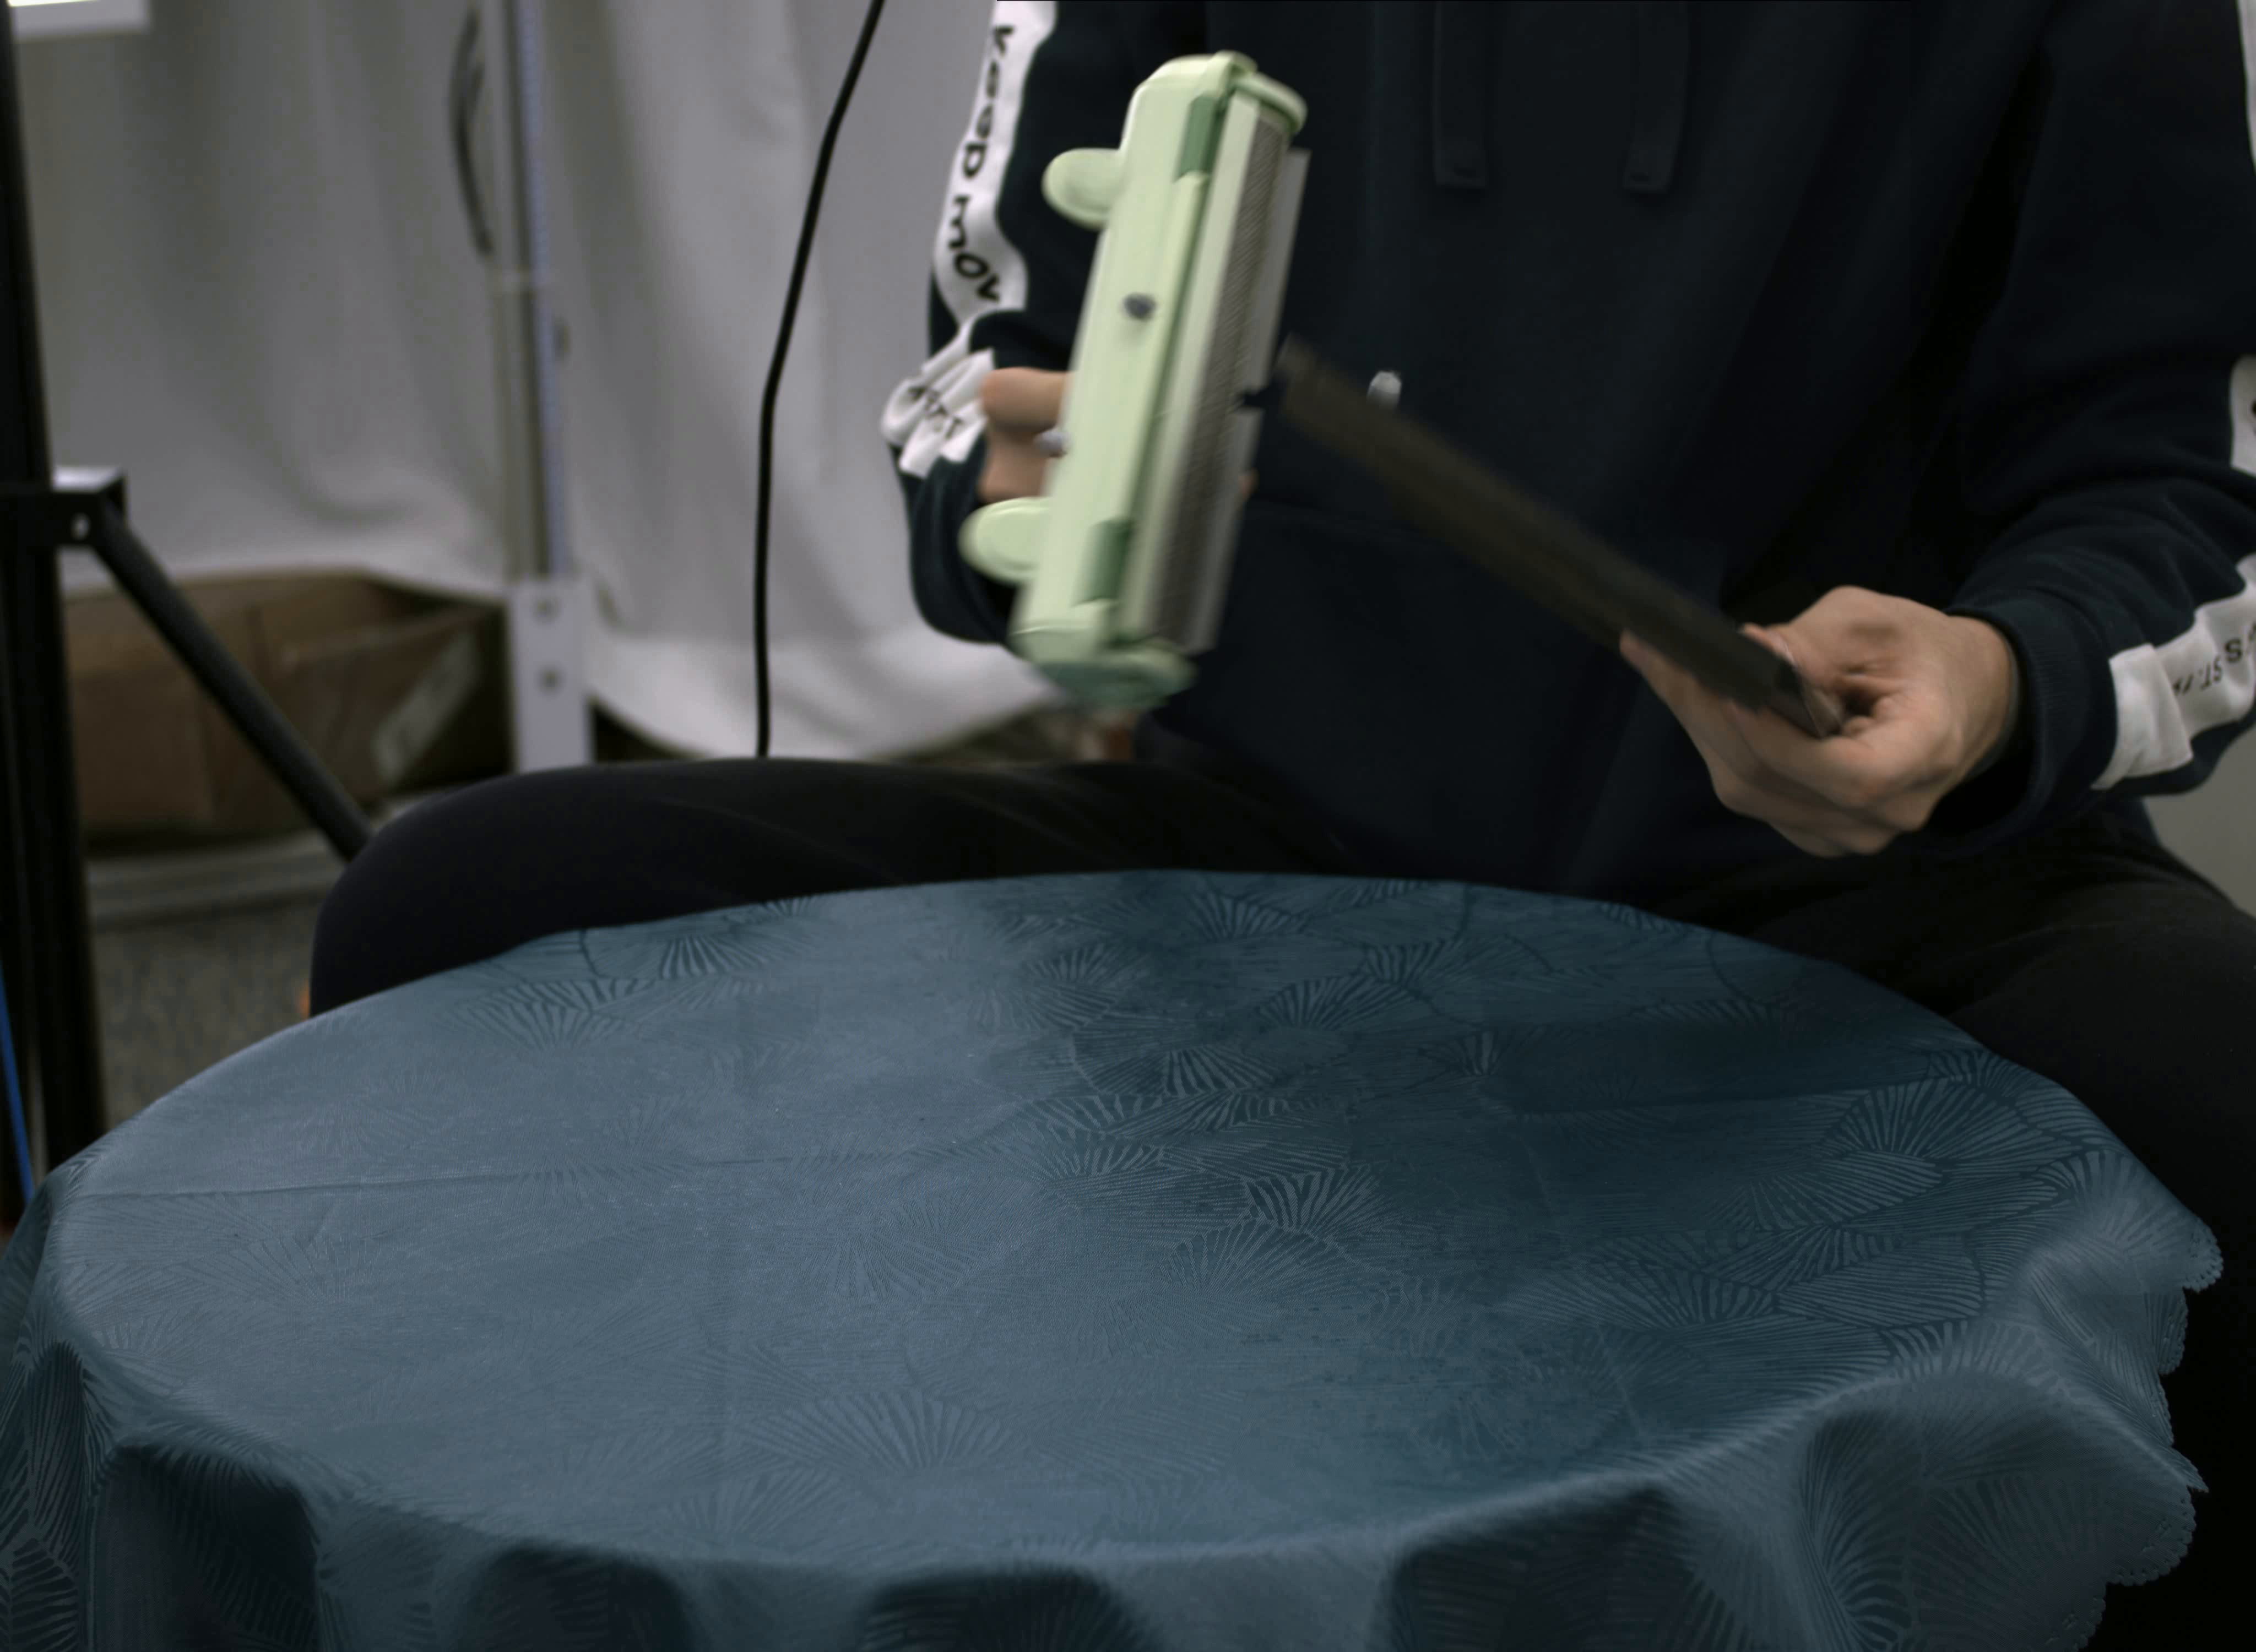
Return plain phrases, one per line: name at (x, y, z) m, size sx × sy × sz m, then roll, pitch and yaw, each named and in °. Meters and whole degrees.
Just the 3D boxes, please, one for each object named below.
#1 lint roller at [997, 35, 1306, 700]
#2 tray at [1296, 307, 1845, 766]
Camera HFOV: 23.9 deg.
lint roller at (-0.004, -0.132, 1.678) m, size 0.081 × 0.200 × 0.185 m, roll 12°, pitch -12°, yaw -12°
tray at (0.132, -0.076, 1.536) m, size 0.171 × 0.018 × 0.303 m, roll 36°, pitch 3°, yaw 9°
